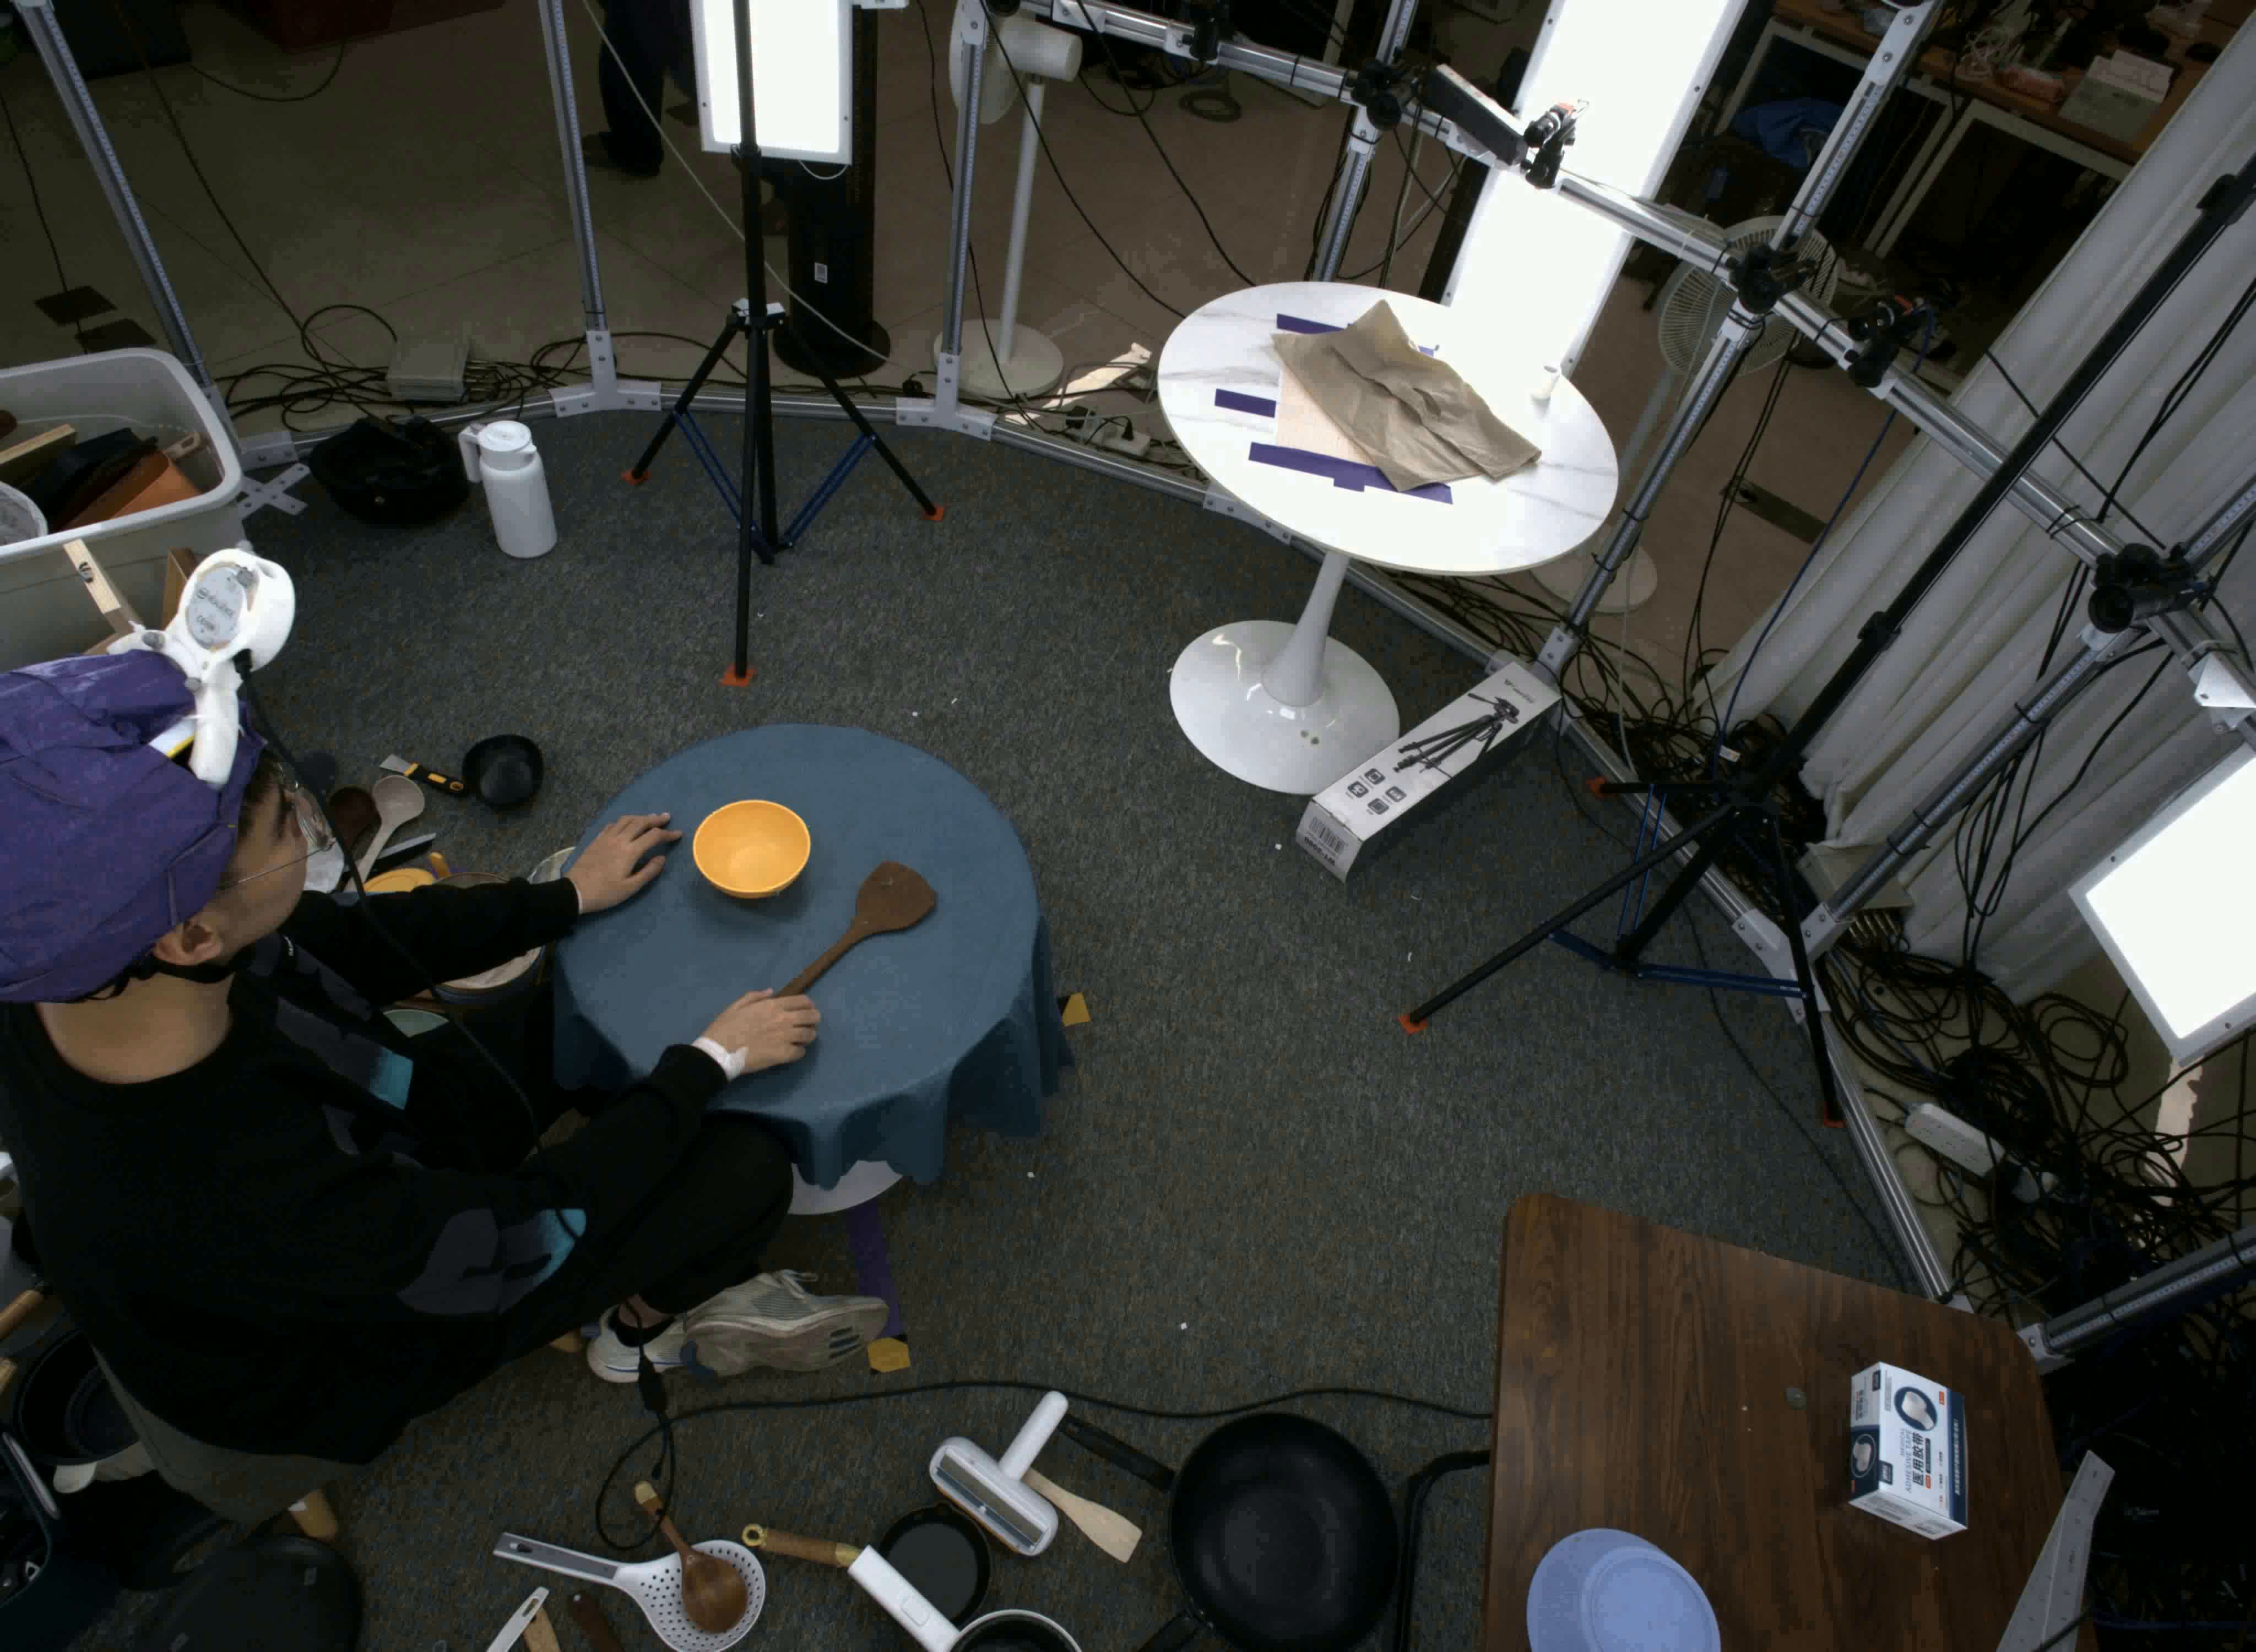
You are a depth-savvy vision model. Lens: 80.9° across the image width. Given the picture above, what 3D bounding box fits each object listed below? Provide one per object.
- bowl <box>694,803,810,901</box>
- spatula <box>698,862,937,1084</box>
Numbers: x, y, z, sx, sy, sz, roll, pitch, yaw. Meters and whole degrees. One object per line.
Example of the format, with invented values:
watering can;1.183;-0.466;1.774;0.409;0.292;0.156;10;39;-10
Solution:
bowl;-0.476;0.042;1.649;0.144;0.061;0.142;6;51;-6
spatula;-0.385;0.177;1.598;0.094;0.016;0.385;35;53;13
